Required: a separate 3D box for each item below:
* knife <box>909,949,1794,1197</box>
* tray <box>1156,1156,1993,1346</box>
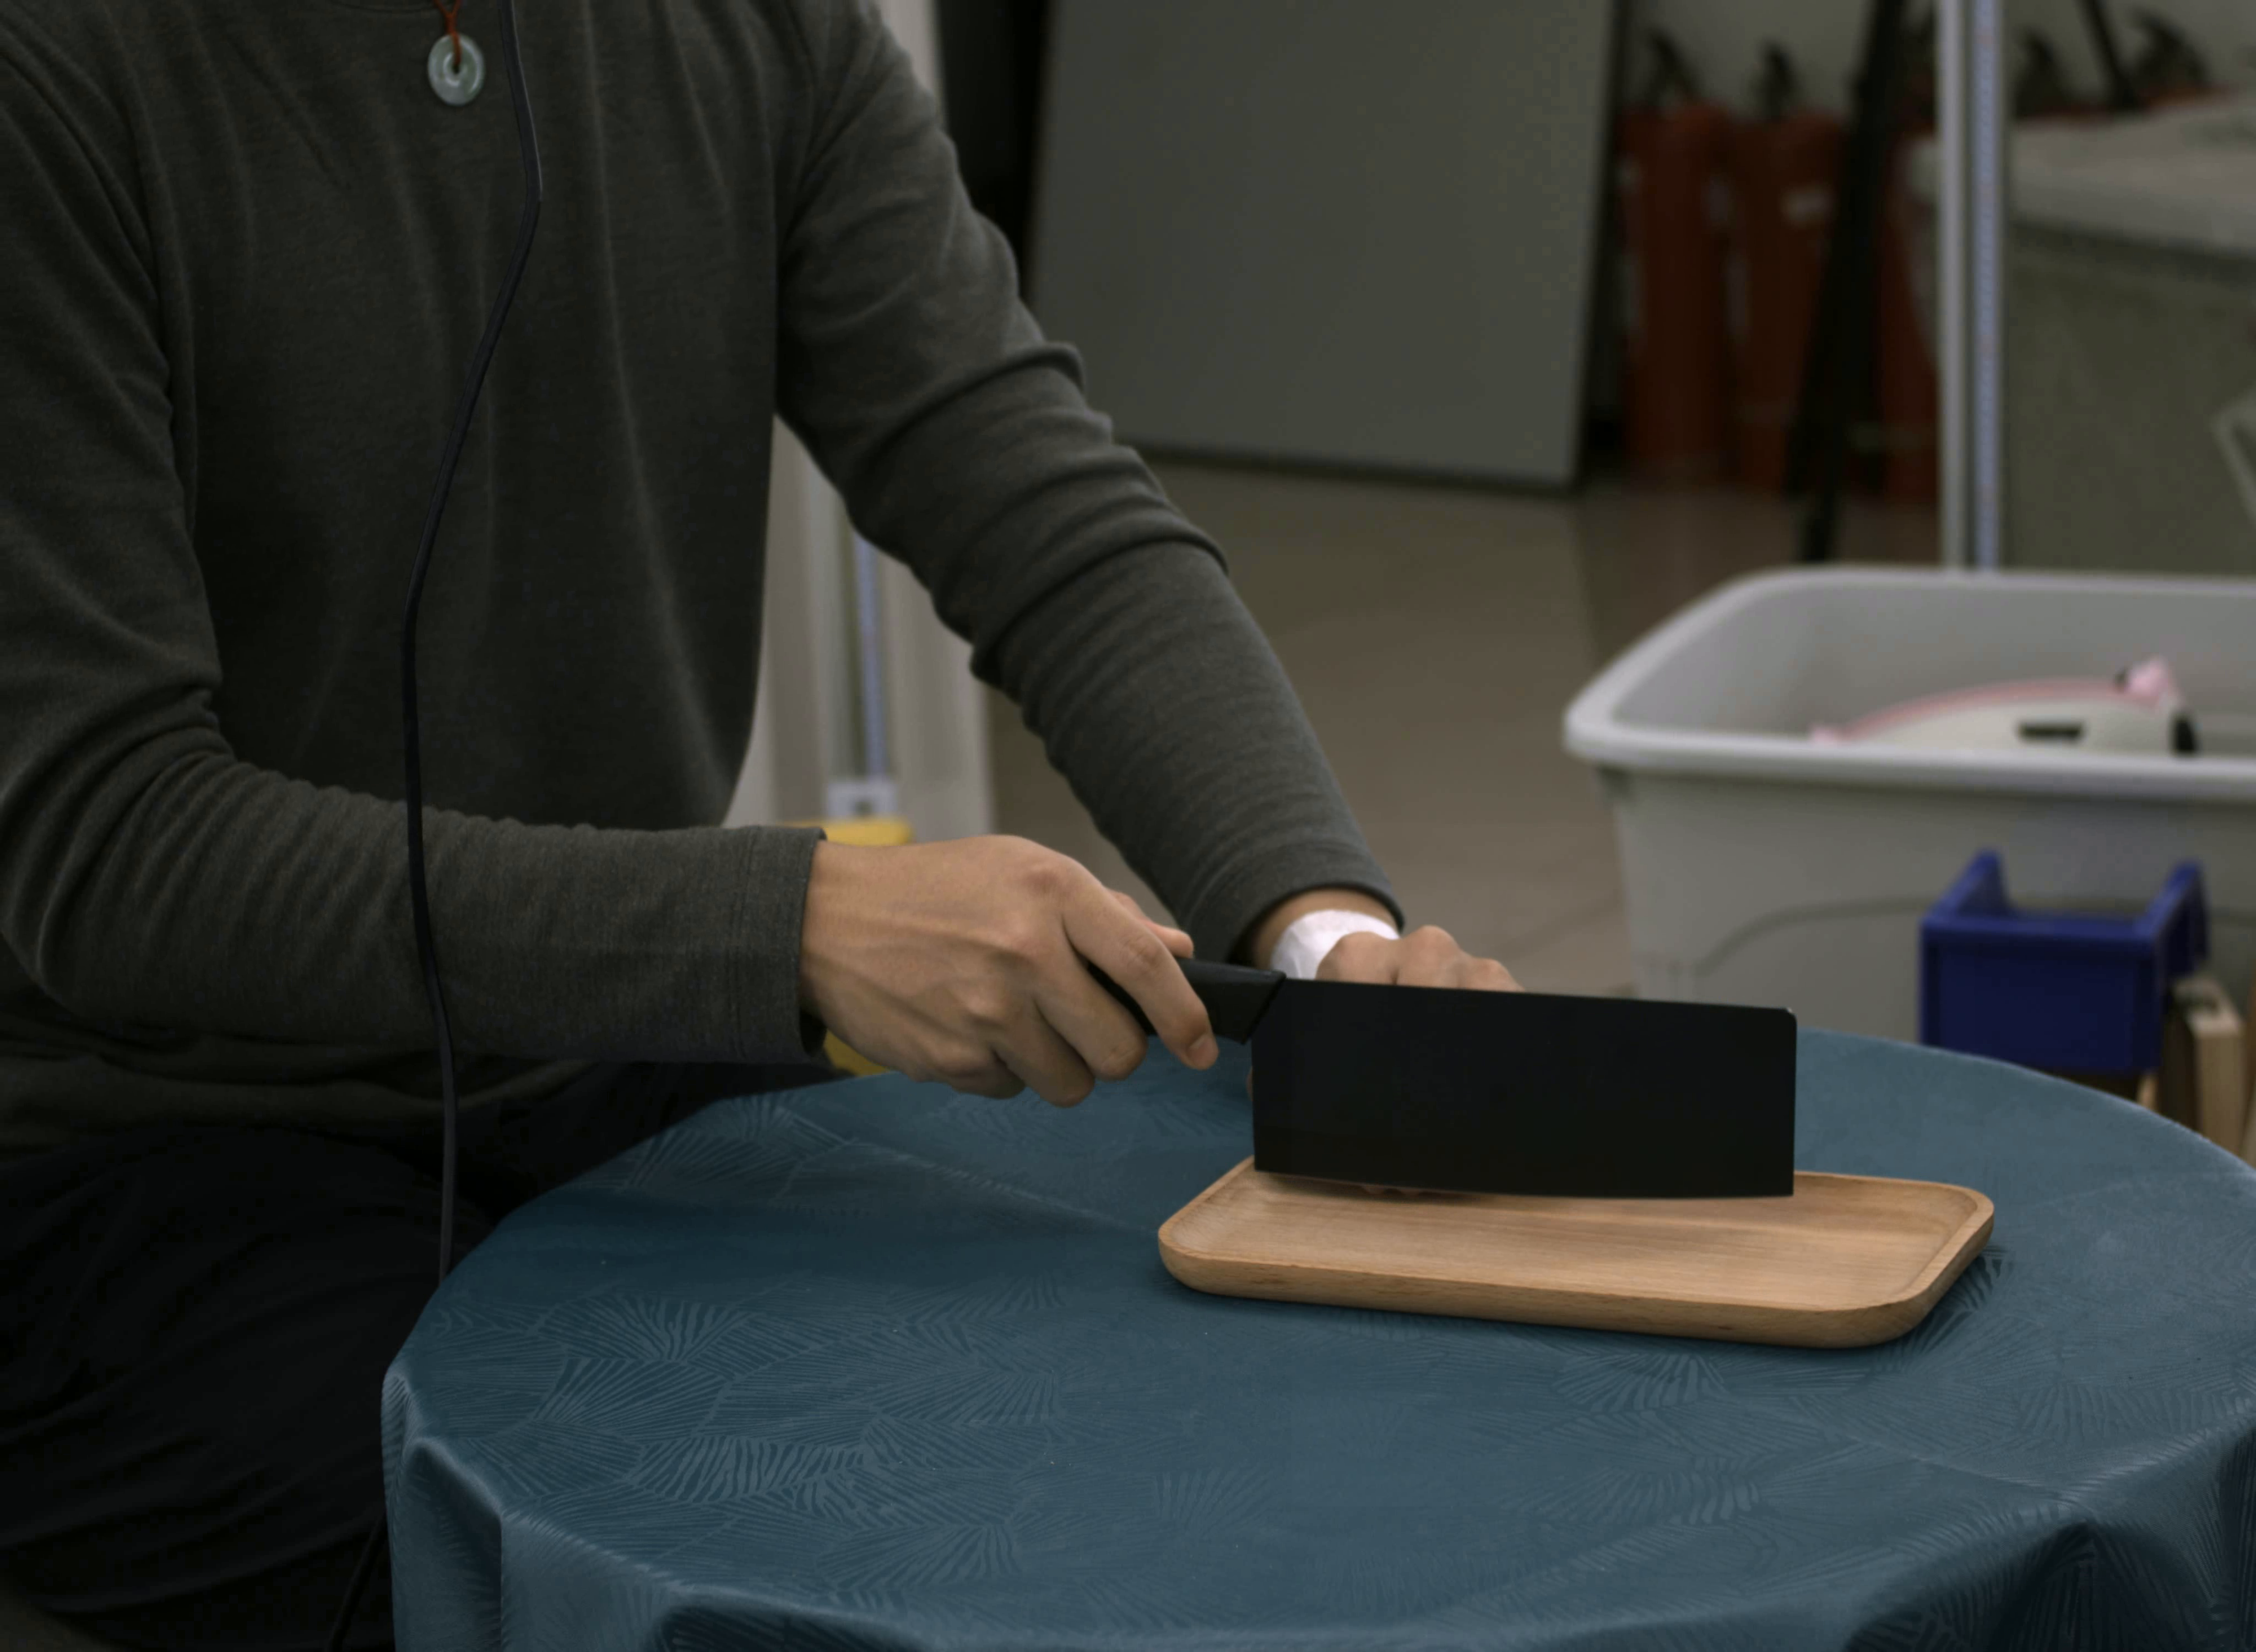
[{"bbox_3d":[0.068,0.077,1.715,0.302,0.082,0.020,7,9,23],"label":"knife"},{"bbox_3d":[0.138,0.129,1.671,0.251,0.023,0.129,1,12,27],"label":"tray"}]
